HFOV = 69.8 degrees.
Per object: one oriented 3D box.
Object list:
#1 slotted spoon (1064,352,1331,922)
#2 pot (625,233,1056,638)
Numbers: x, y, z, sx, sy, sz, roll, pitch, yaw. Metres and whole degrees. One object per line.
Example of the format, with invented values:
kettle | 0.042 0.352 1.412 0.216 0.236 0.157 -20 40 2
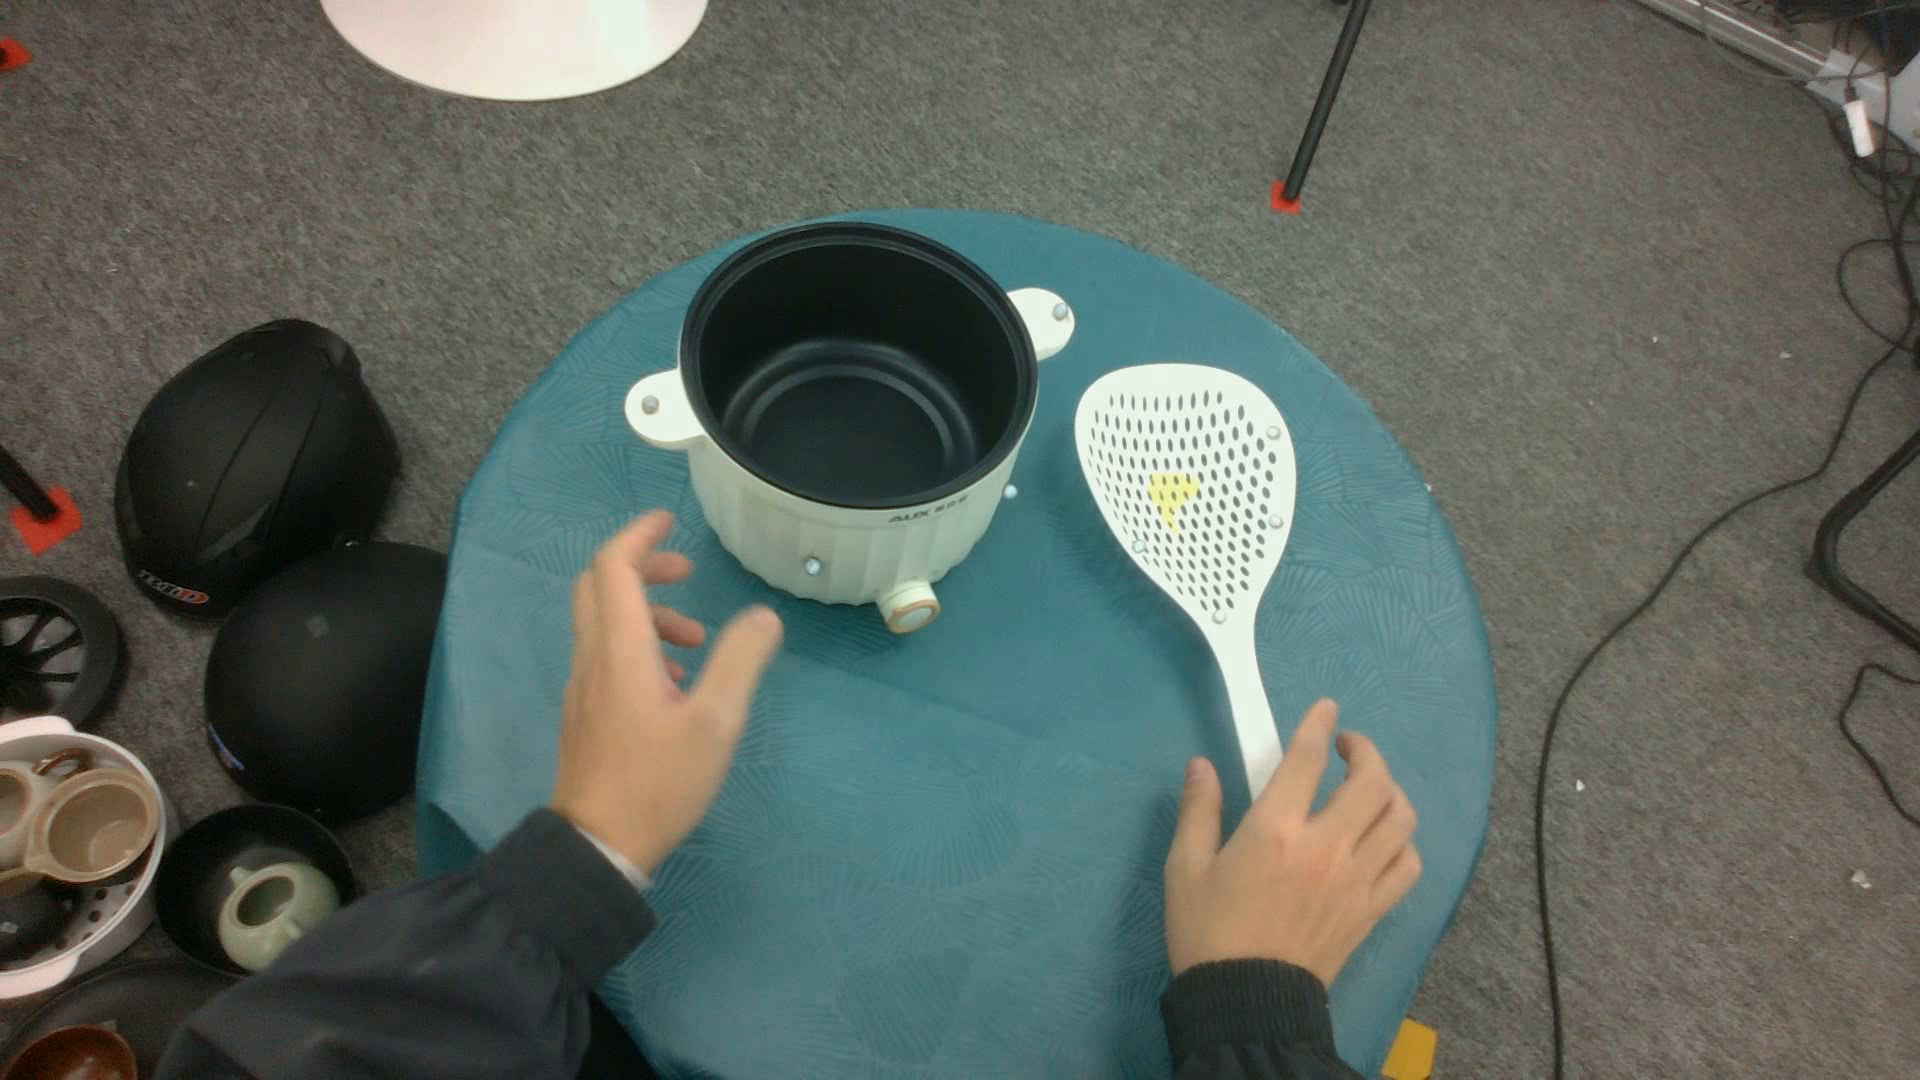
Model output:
slotted spoon | 0.150 0.042 0.790 0.137 0.050 0.349 -6 59 -12
pot | -0.059 -0.051 0.761 0.241 0.142 0.191 -21 61 -18
